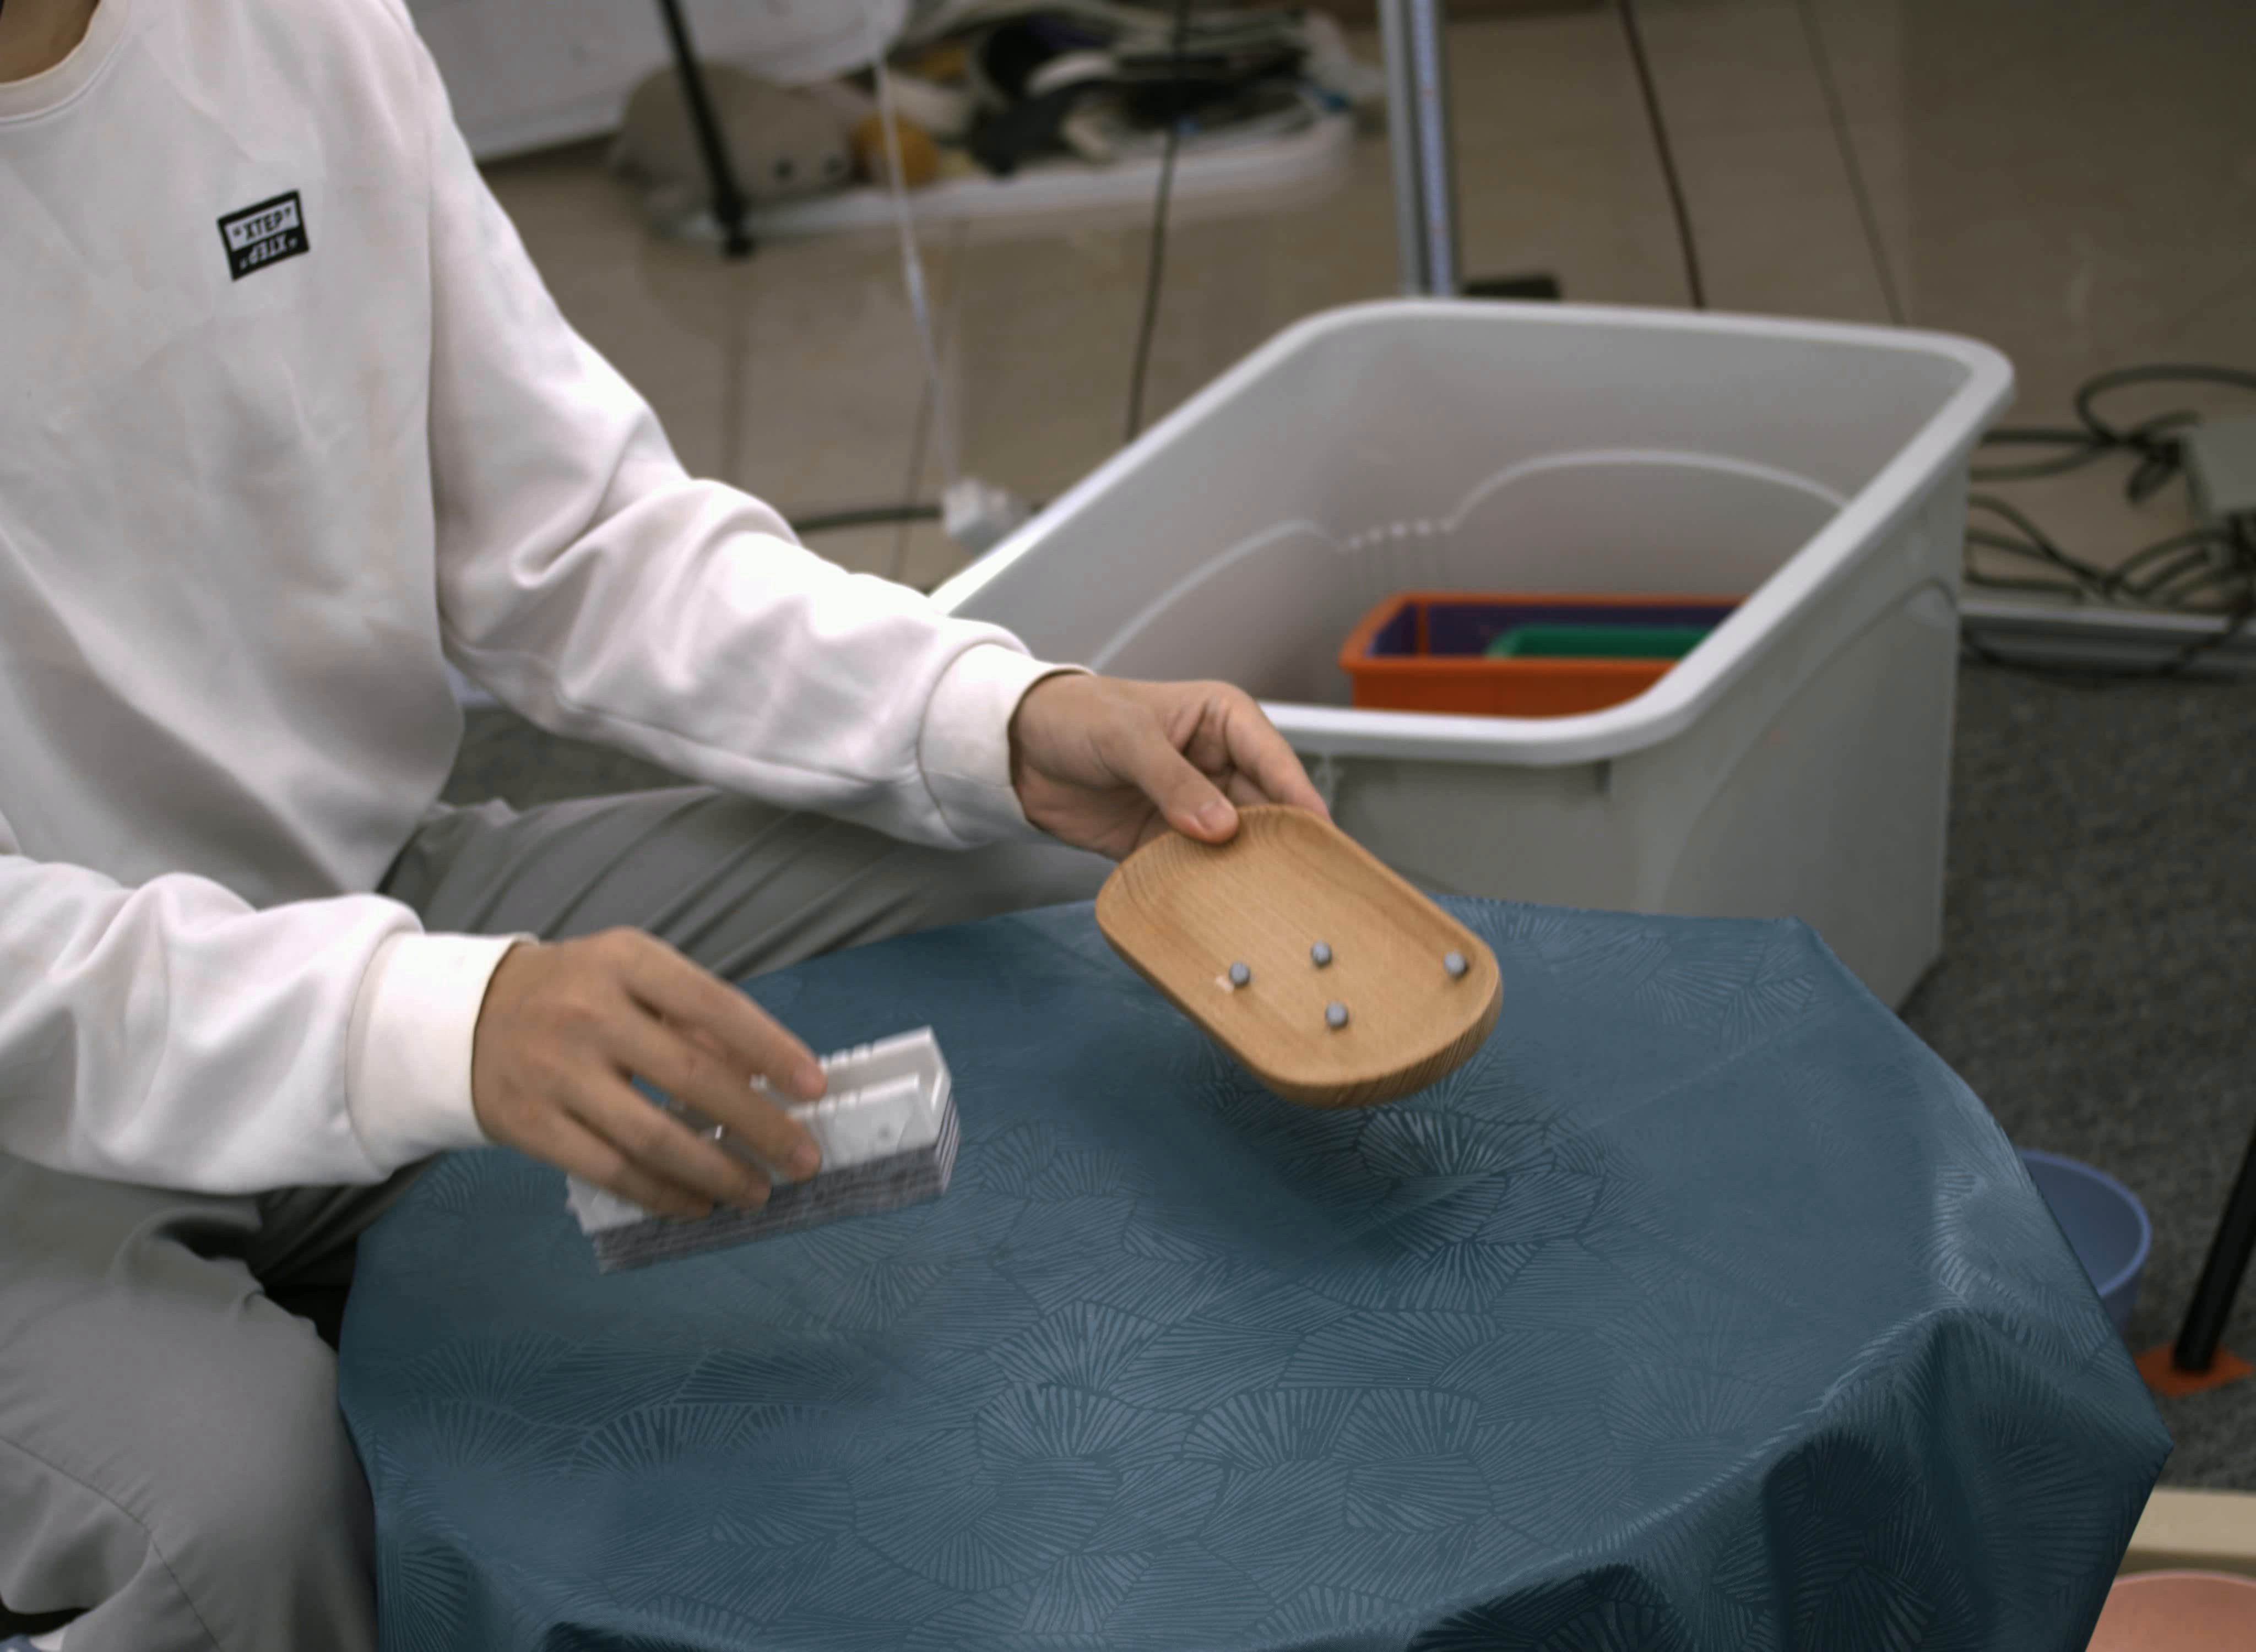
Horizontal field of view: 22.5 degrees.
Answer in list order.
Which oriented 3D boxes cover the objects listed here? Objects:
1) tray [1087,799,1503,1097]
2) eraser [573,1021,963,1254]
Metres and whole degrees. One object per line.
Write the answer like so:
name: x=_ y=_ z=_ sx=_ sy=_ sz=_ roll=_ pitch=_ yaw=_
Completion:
tray: x=0.063 y=0.045 z=2.166 sx=0.101 sy=0.020 sz=0.228 roll=-28 pitch=29 yaw=-15
eraser: x=-0.128 y=0.112 z=2.038 sx=0.134 sy=0.047 sz=0.049 roll=-15 pitch=18 yaw=7
